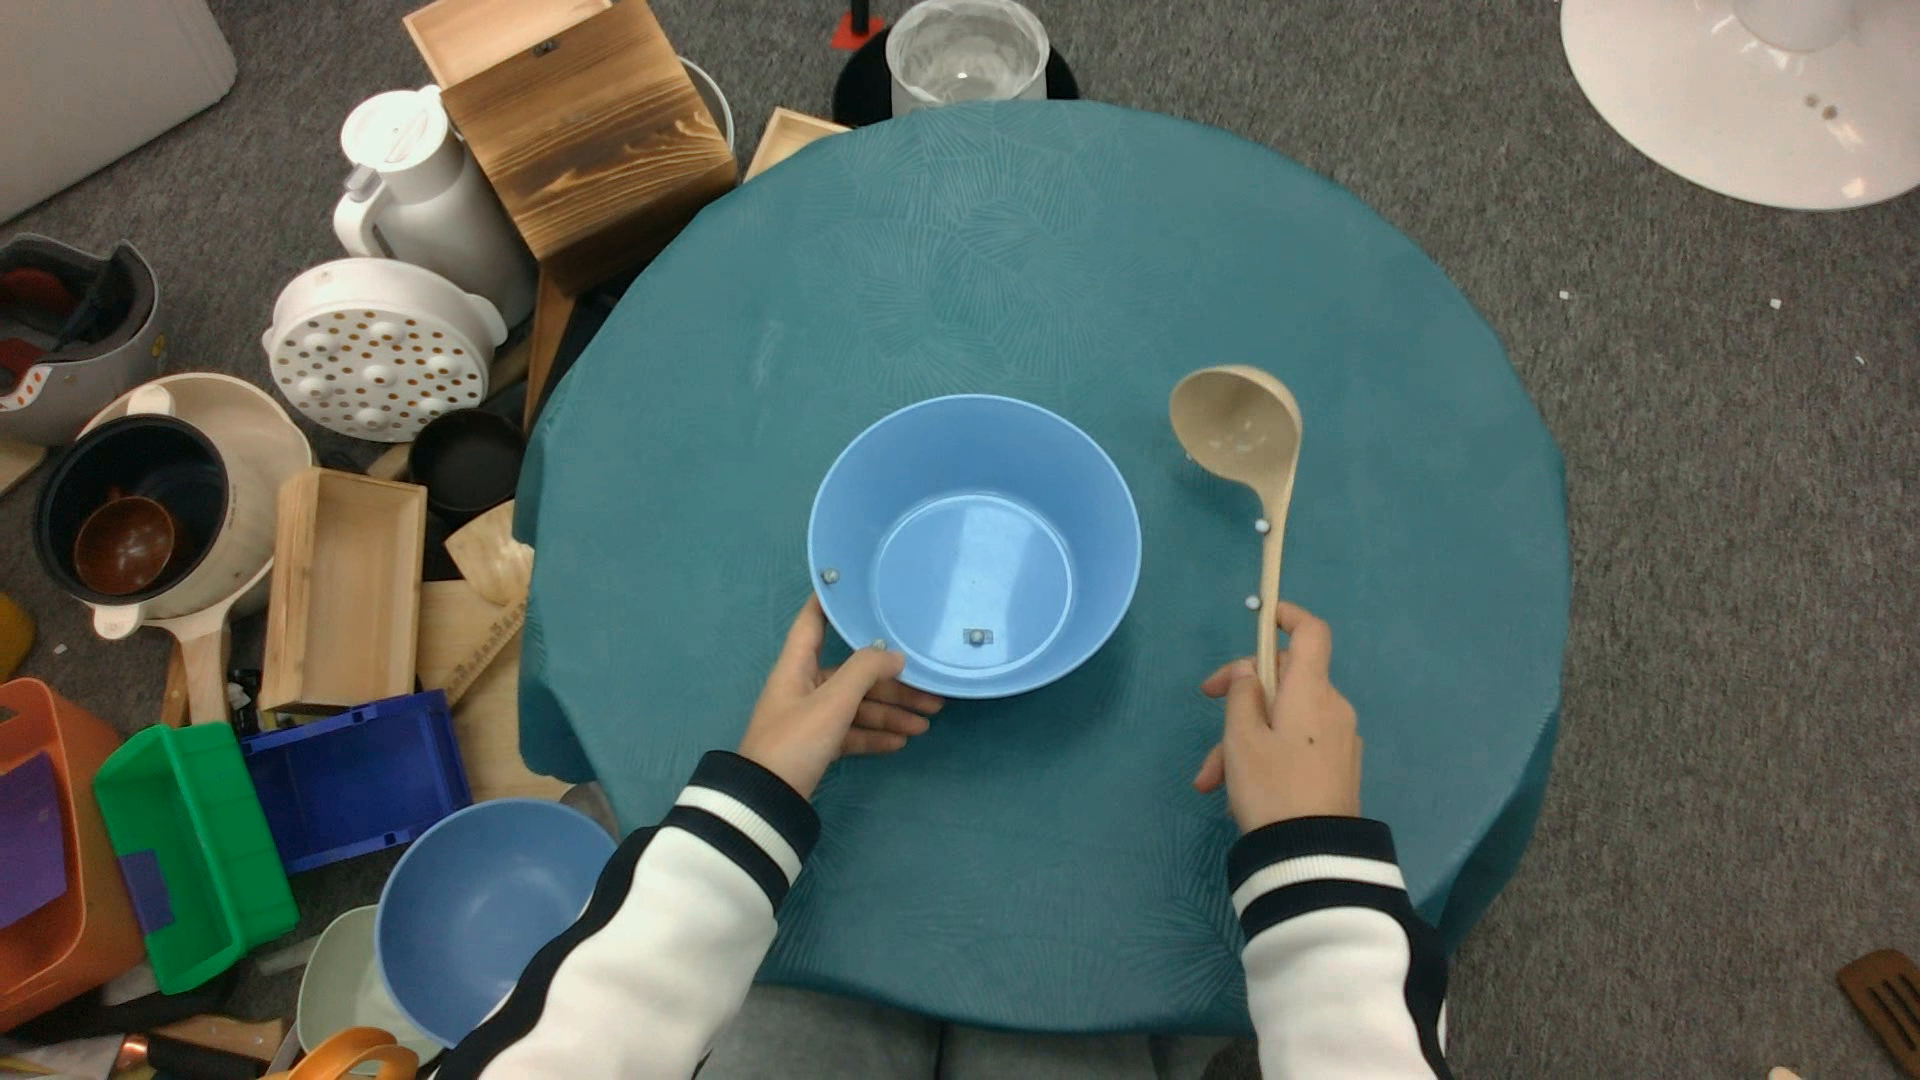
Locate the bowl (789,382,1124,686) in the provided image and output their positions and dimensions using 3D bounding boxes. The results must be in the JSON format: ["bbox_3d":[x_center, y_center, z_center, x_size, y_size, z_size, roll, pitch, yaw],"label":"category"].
[{"bbox_3d":[-0.002,0.006,0.750,0.176,0.070,0.176,0,65,0],"label":"bowl"}]

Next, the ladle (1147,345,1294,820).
[{"bbox_3d":[0.132,0.011,0.697,0.073,0.072,0.255,29,49,-32],"label":"ladle"}]
